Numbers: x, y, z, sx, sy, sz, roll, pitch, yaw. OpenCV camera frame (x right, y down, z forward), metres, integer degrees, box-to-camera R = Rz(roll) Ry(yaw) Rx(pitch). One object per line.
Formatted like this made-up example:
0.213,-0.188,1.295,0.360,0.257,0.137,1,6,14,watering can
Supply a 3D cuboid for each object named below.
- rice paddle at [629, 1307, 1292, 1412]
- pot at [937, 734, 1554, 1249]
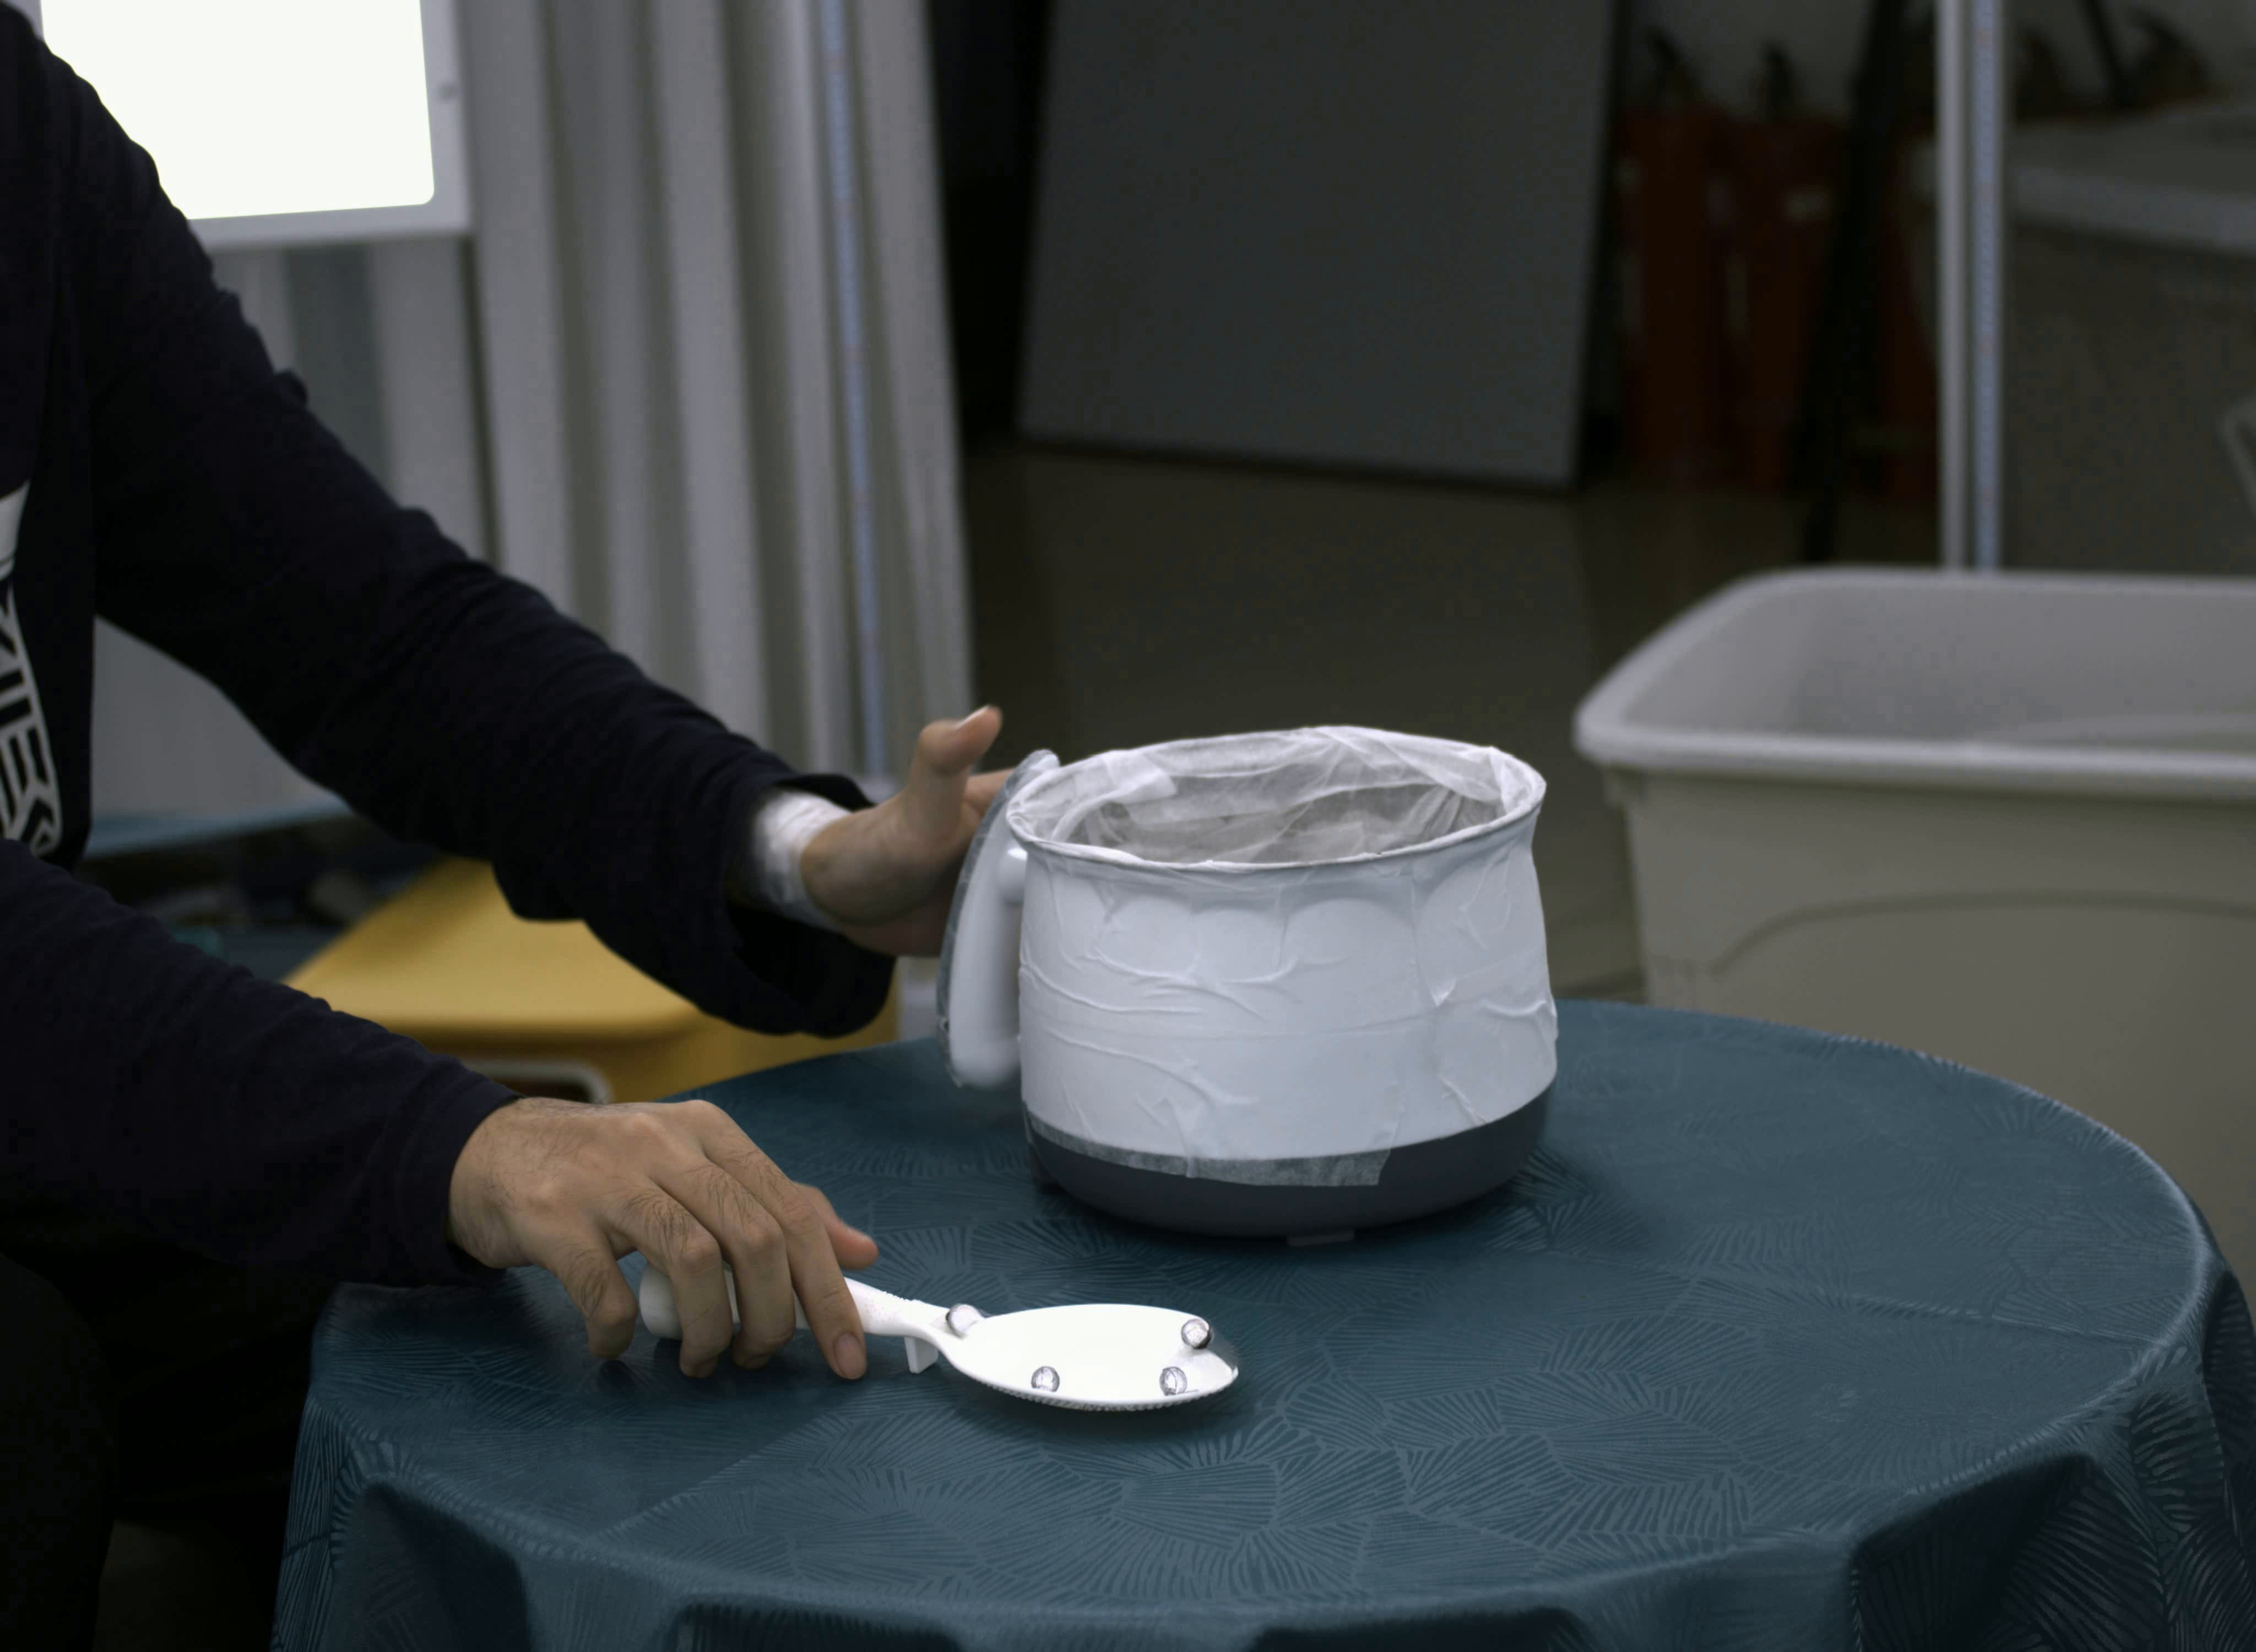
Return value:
-0.049,0.155,1.596,0.205,0.030,0.068,-3,12,19,rice paddle
0.030,0.049,1.775,0.235,0.138,0.175,7,15,38,pot
